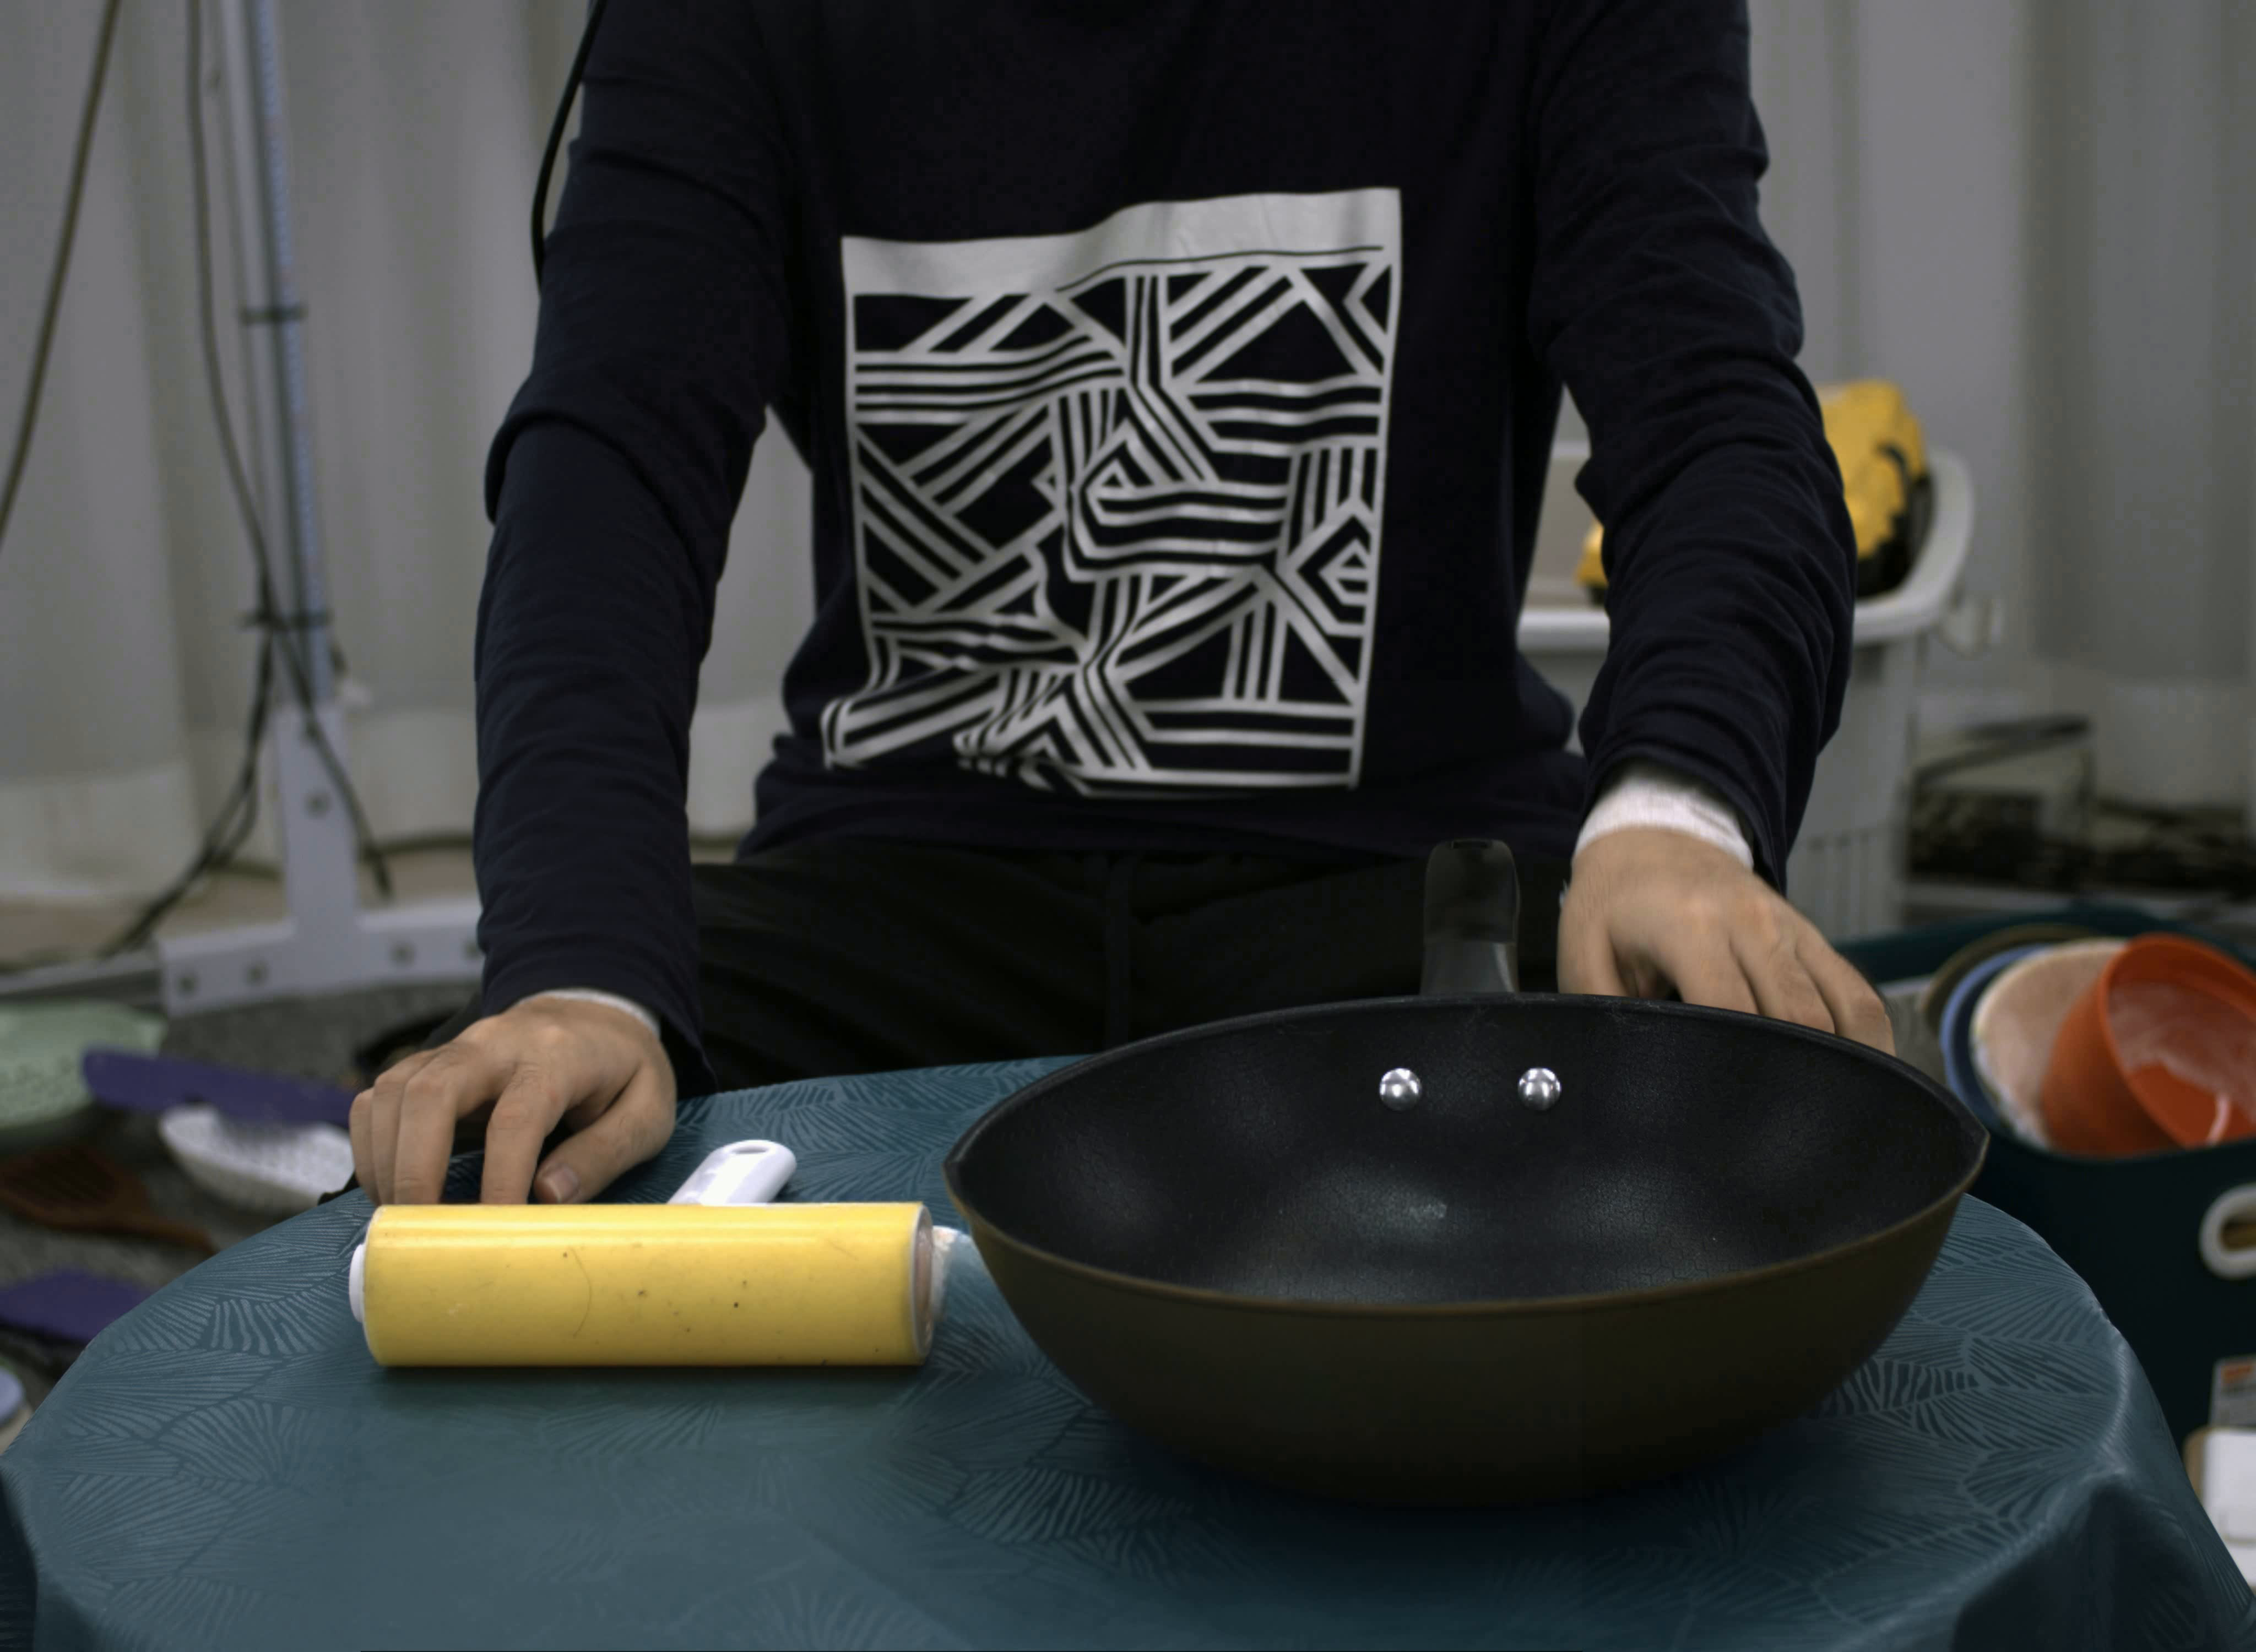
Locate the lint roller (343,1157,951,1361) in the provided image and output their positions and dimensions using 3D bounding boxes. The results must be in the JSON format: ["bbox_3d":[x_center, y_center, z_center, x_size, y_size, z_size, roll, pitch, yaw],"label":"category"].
[{"bbox_3d":[-0.133,0.115,1.651,0.174,0.051,0.193,0,15,6],"label":"lint roller"}]

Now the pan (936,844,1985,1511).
[{"bbox_3d":[0.097,0.100,1.595,0.287,0.086,0.466,-1,14,4],"label":"pan"}]
